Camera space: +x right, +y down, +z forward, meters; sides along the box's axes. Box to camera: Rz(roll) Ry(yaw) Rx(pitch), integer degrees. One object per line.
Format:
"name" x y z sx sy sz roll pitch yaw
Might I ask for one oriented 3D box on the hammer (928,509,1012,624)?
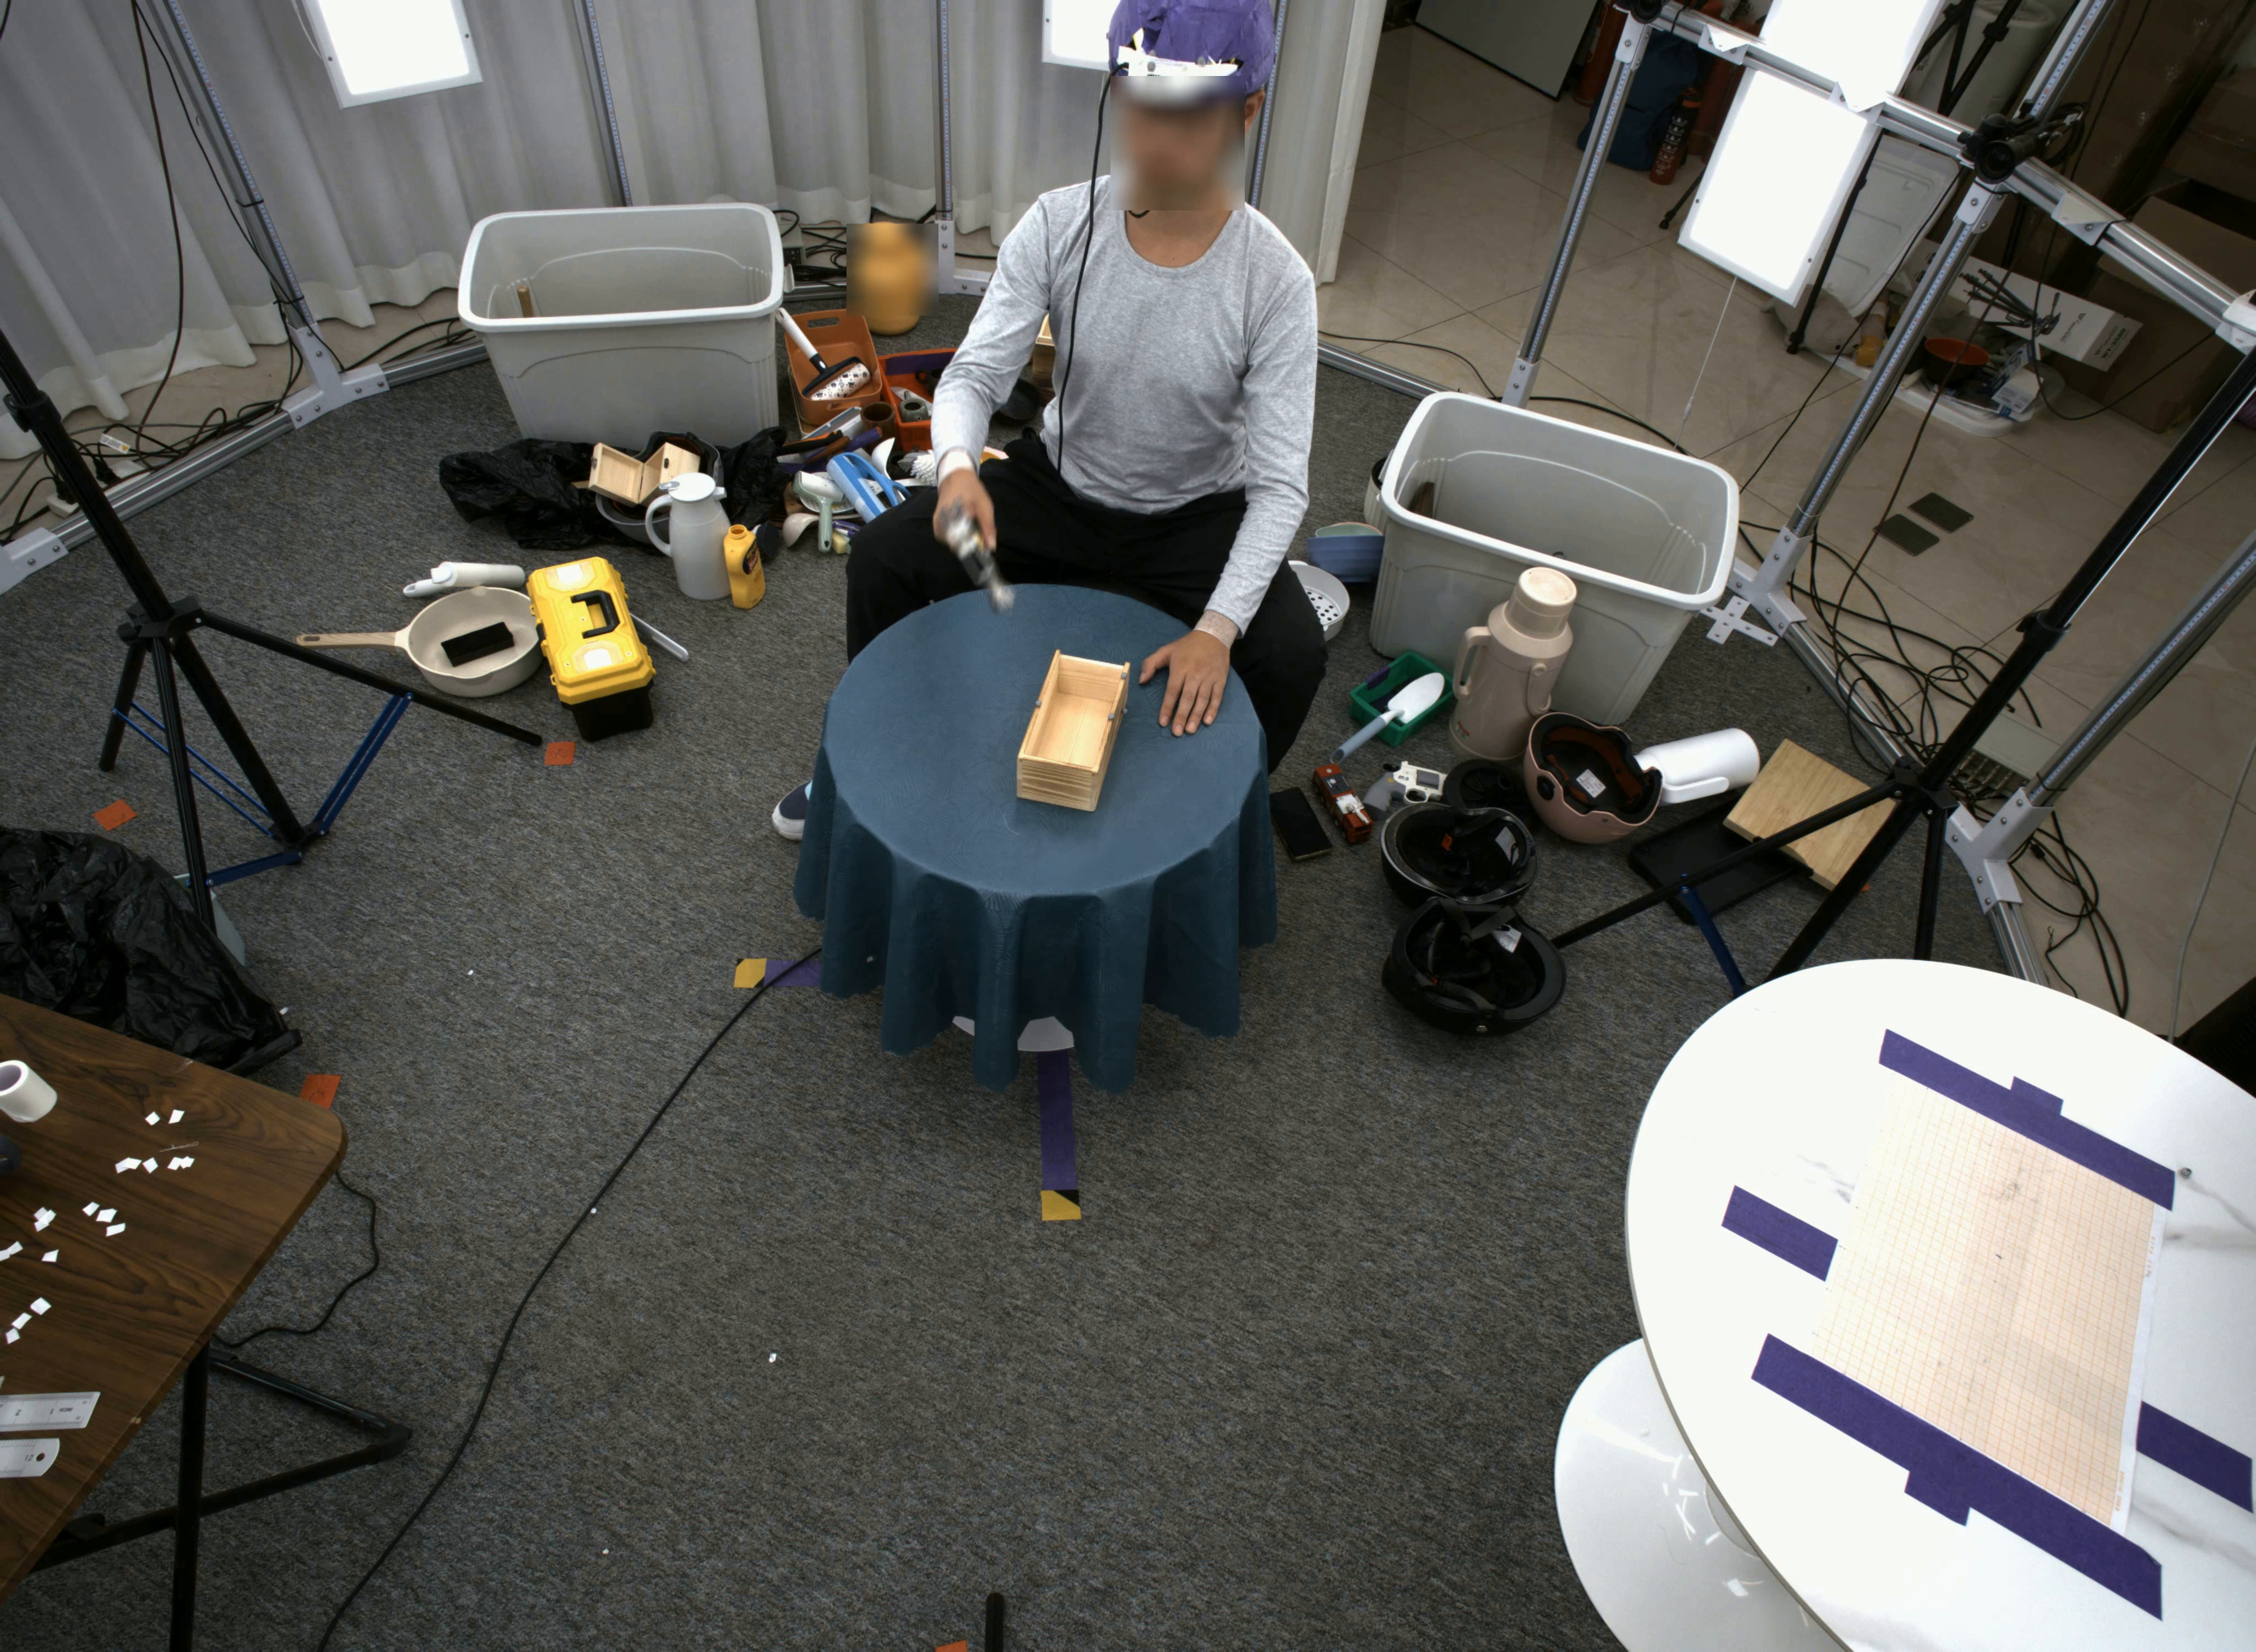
"hammer" -0.204 -0.364 1.674 0.032 0.129 0.344 -34 23 8

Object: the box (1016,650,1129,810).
"box" -0.072 -0.132 1.736 0.107 0.078 0.216 10 49 5
